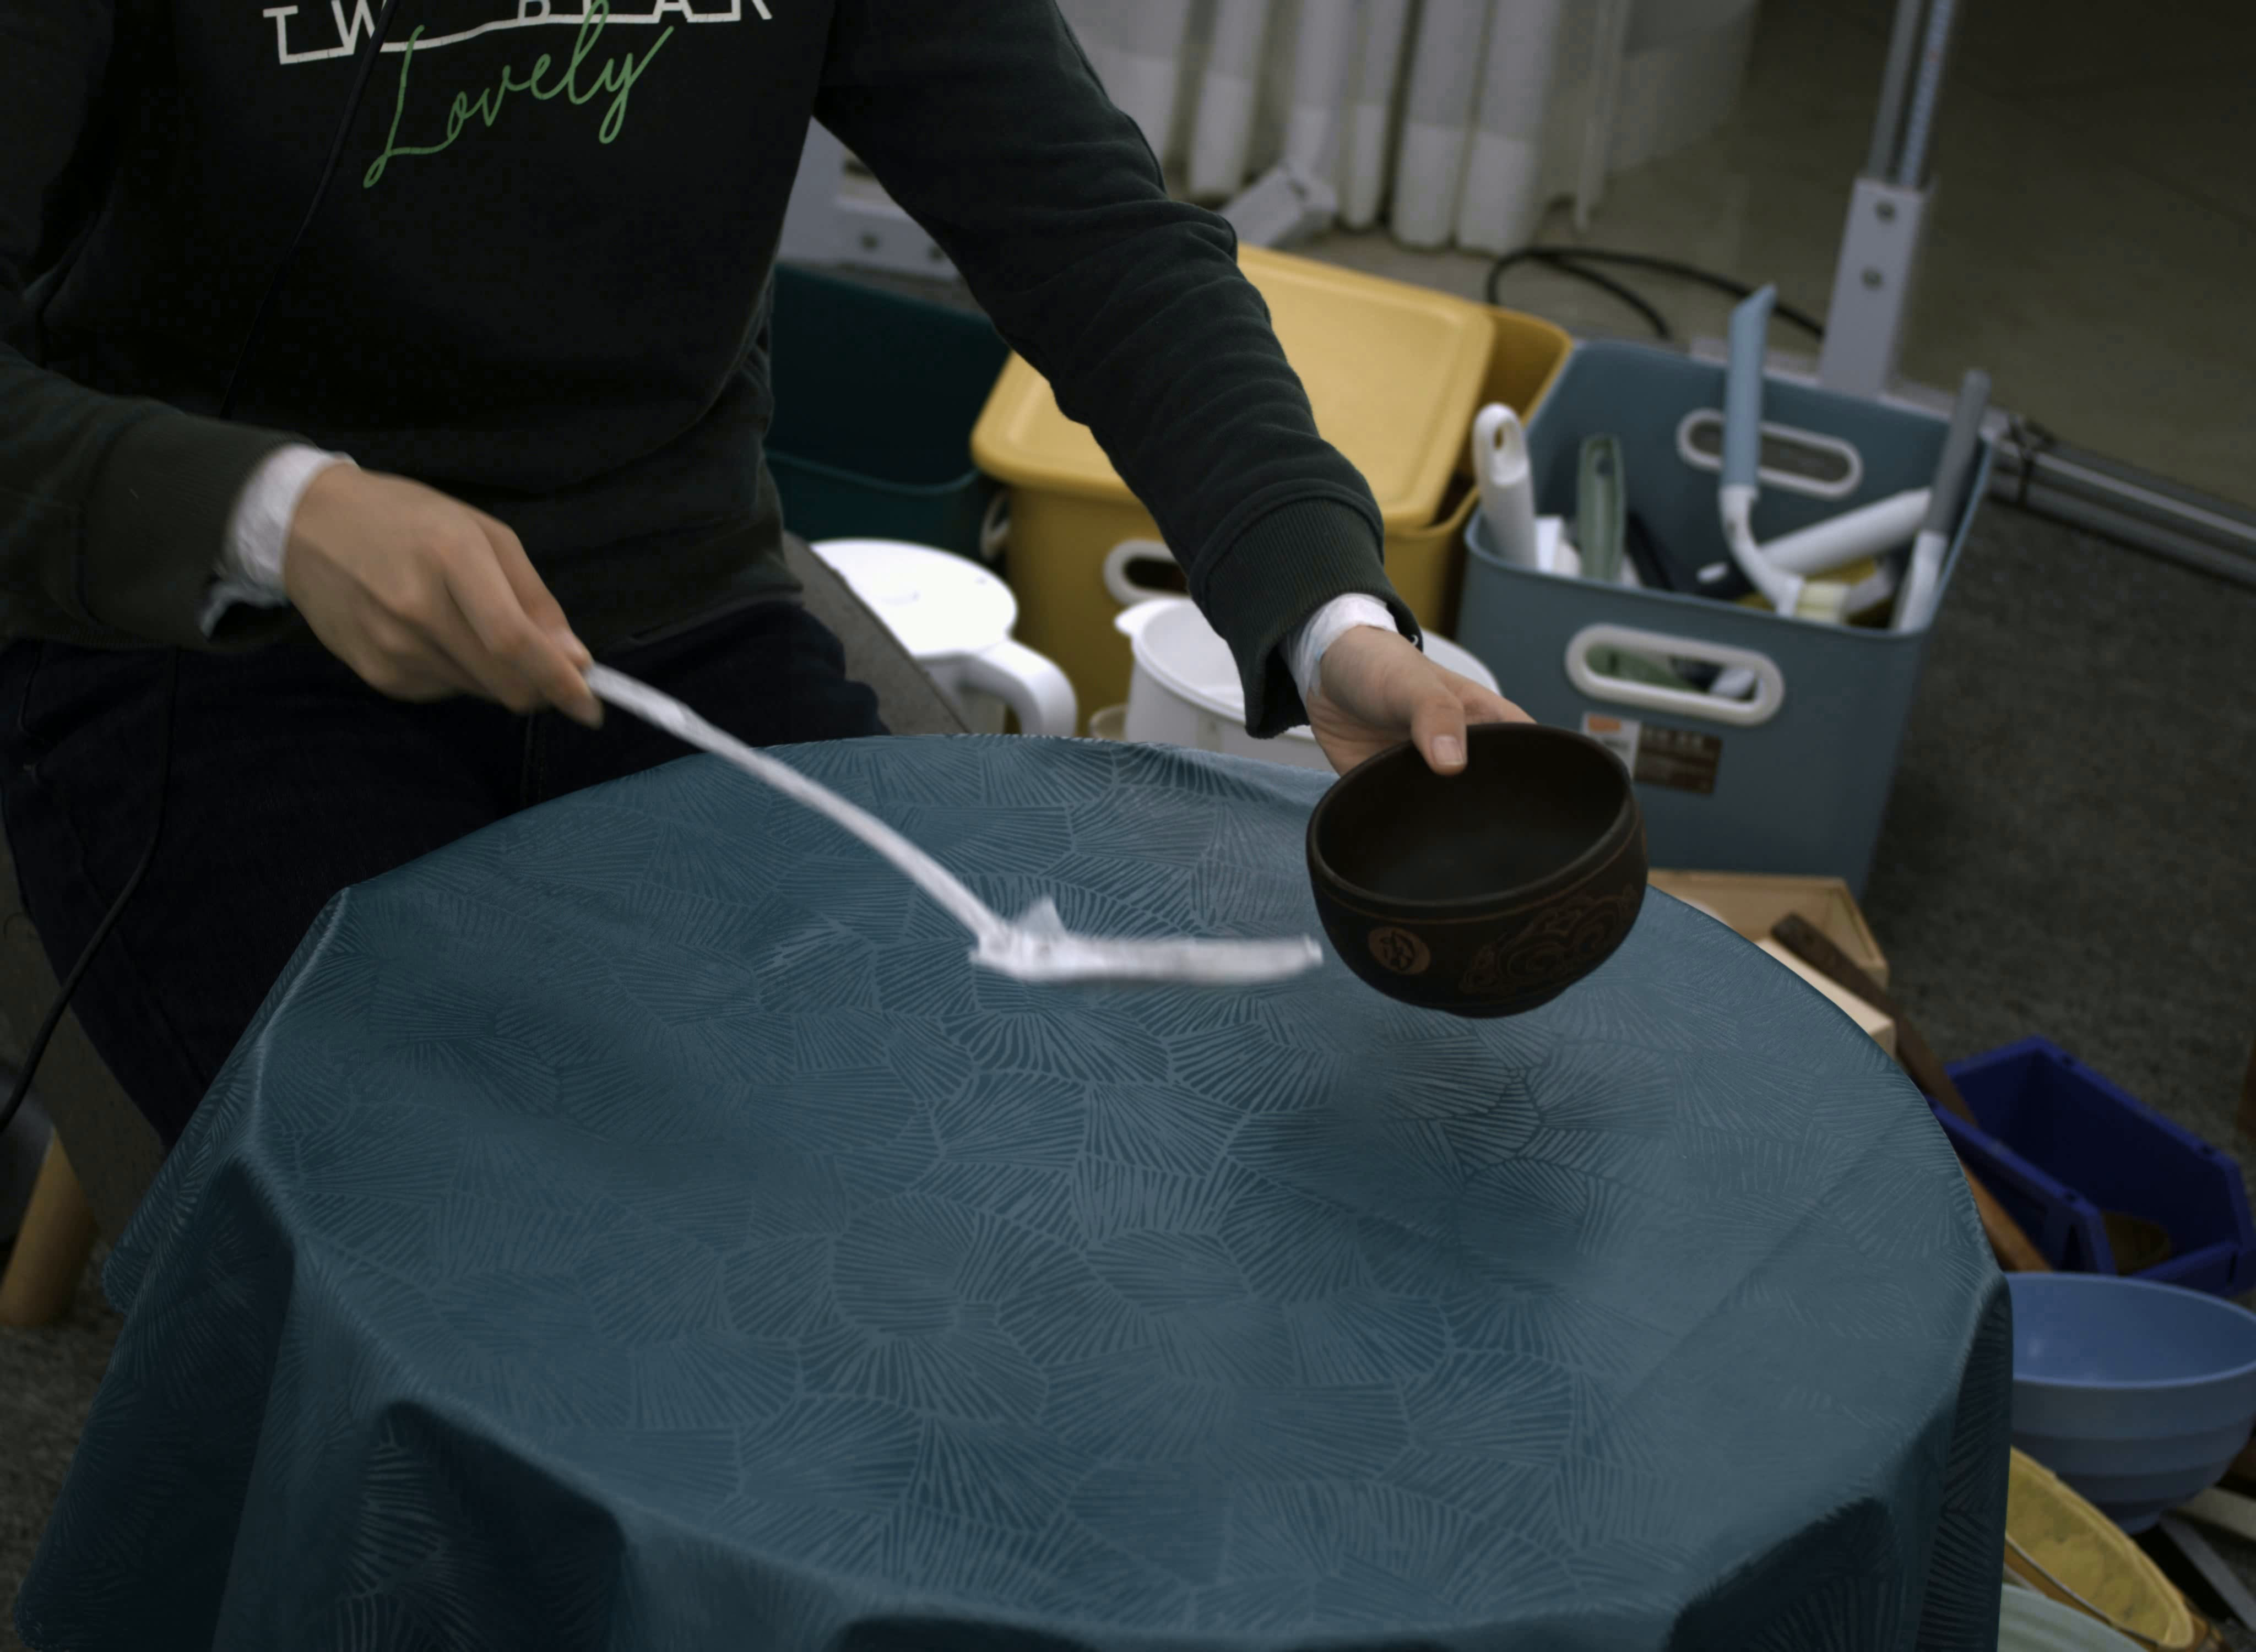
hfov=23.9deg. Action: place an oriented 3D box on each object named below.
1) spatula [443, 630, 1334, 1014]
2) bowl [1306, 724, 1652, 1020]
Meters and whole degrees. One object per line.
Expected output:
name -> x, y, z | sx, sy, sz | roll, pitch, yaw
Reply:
spatula -> -0.097, -0.007, 1.728 | 0.367, 0.045, 0.098 | 29, 21, 30
bowl -> 0.124, 0.023, 1.842 | 0.118, 0.069, 0.119 | -9, 30, 5
